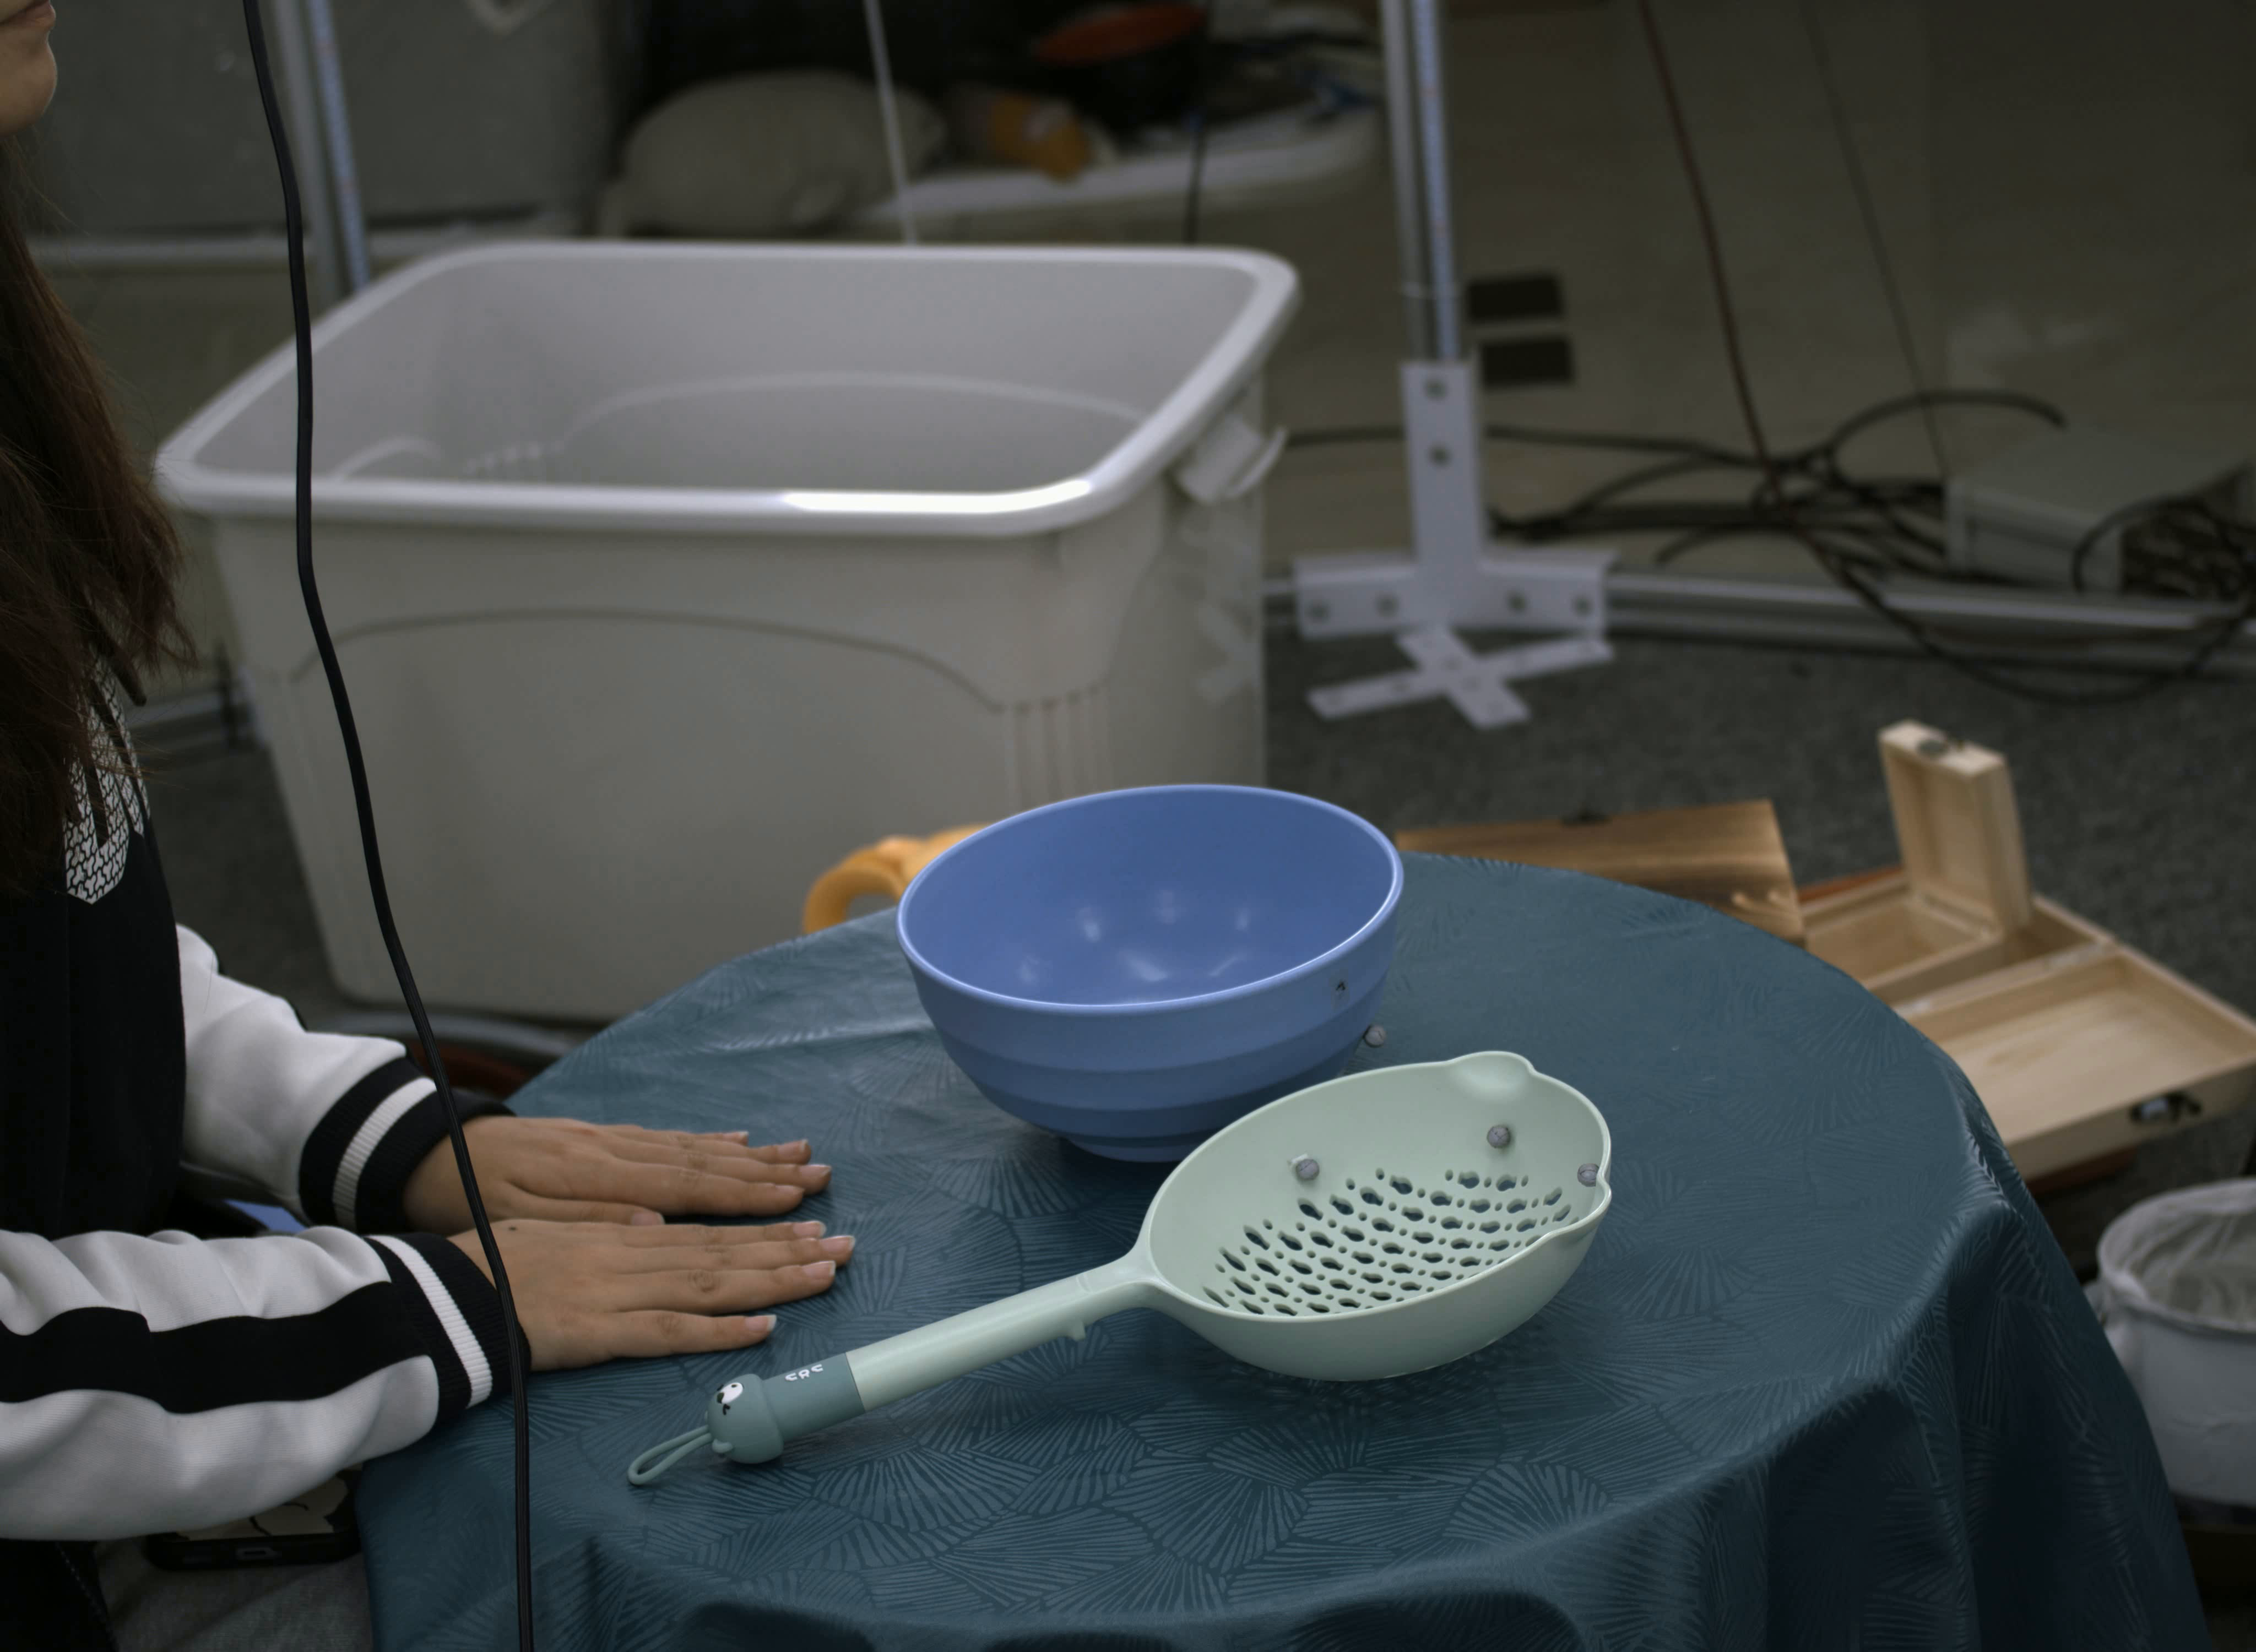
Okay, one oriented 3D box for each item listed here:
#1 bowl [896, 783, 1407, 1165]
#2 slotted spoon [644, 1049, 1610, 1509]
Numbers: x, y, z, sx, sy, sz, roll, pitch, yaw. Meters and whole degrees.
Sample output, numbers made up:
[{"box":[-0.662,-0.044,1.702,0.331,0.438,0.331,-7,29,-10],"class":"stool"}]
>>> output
[{"box":[0.013,0.068,2.185,0.196,0.097,0.193,-5,26,3],"class":"bowl"},{"box":[-0.001,0.171,2.011,0.358,0.076,0.167,-12,24,-7],"class":"slotted spoon"}]
